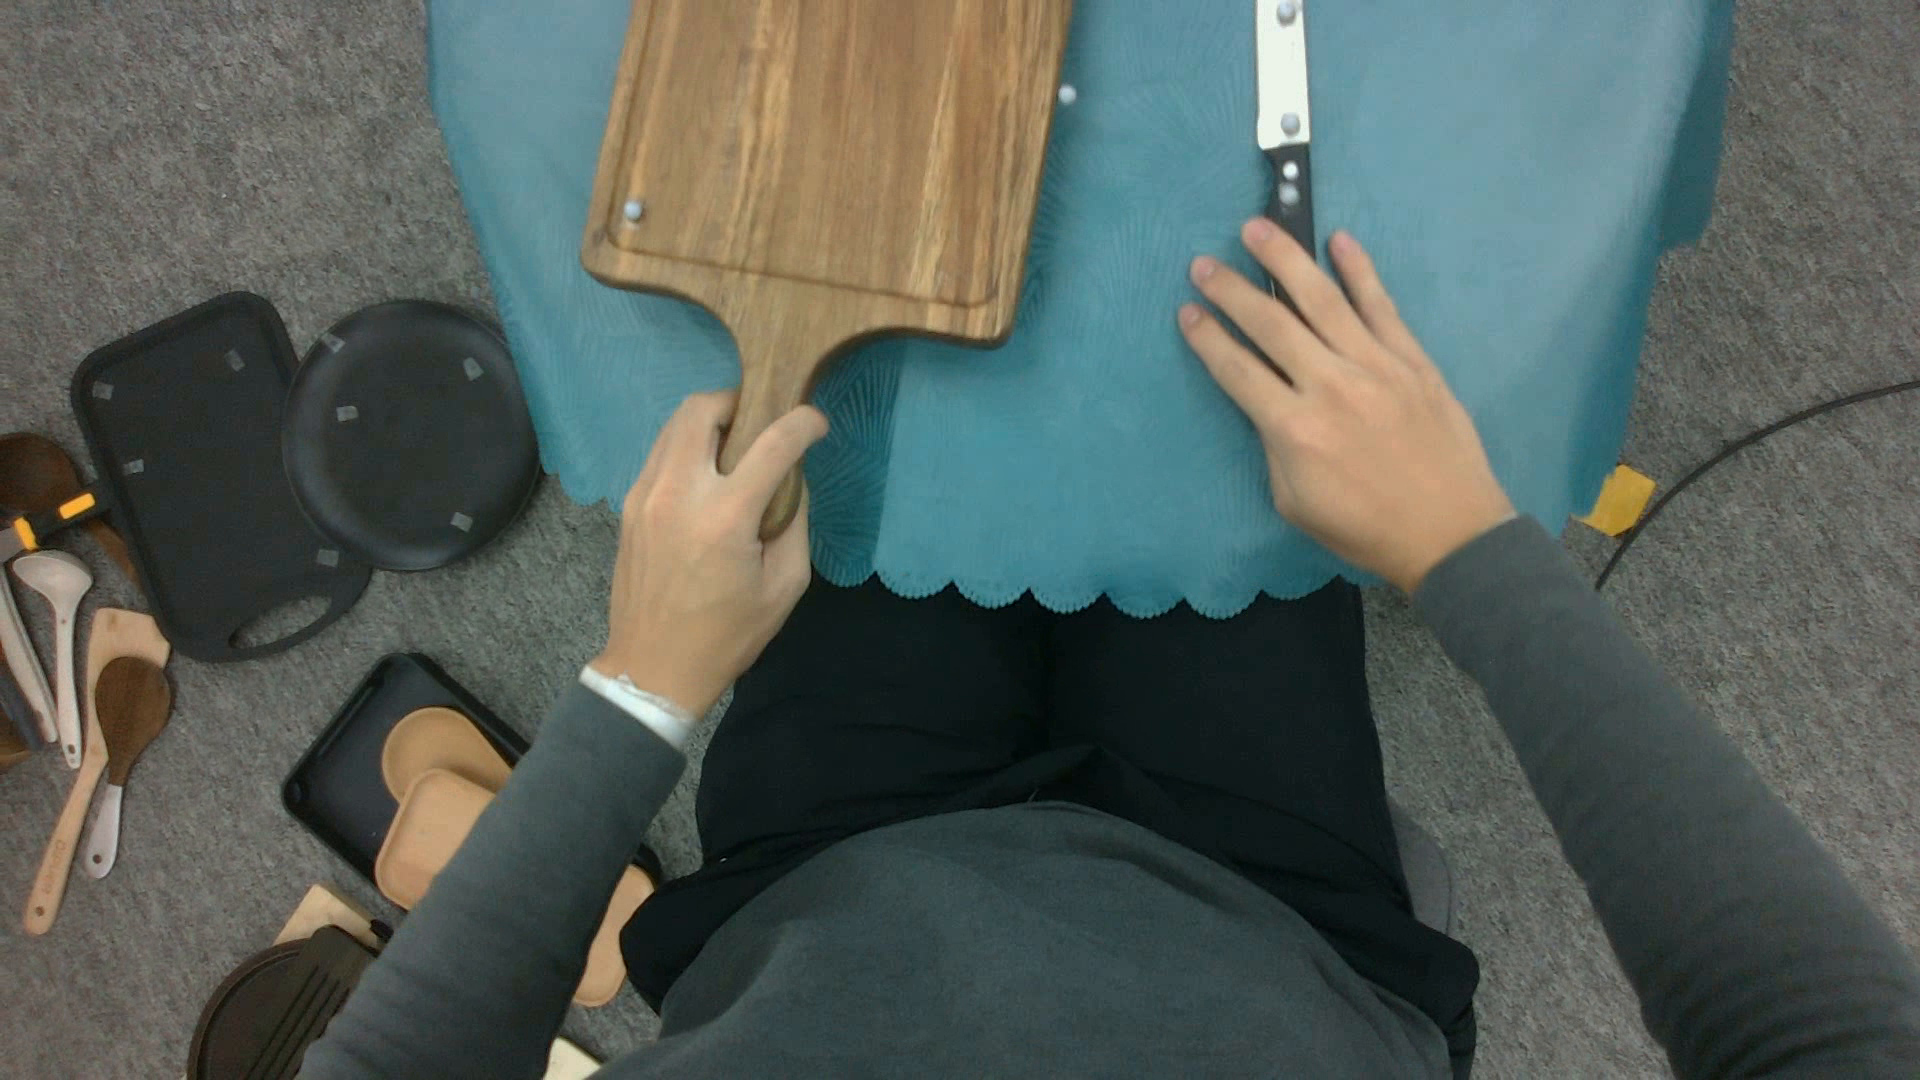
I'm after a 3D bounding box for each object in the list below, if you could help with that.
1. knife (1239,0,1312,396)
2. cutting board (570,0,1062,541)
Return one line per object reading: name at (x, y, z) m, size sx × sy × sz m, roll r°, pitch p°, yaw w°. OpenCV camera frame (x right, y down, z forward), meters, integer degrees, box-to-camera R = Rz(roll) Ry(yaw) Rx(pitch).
knife at (0.144, -0.185, 0.627) m, size 0.024 × 0.016 × 0.238 m, roll -4°, pitch 89°, yaw 8°
cutting board at (-0.066, -0.174, 0.618) m, size 0.201 × 0.023 × 0.352 m, roll 9°, pitch 83°, yaw 5°
